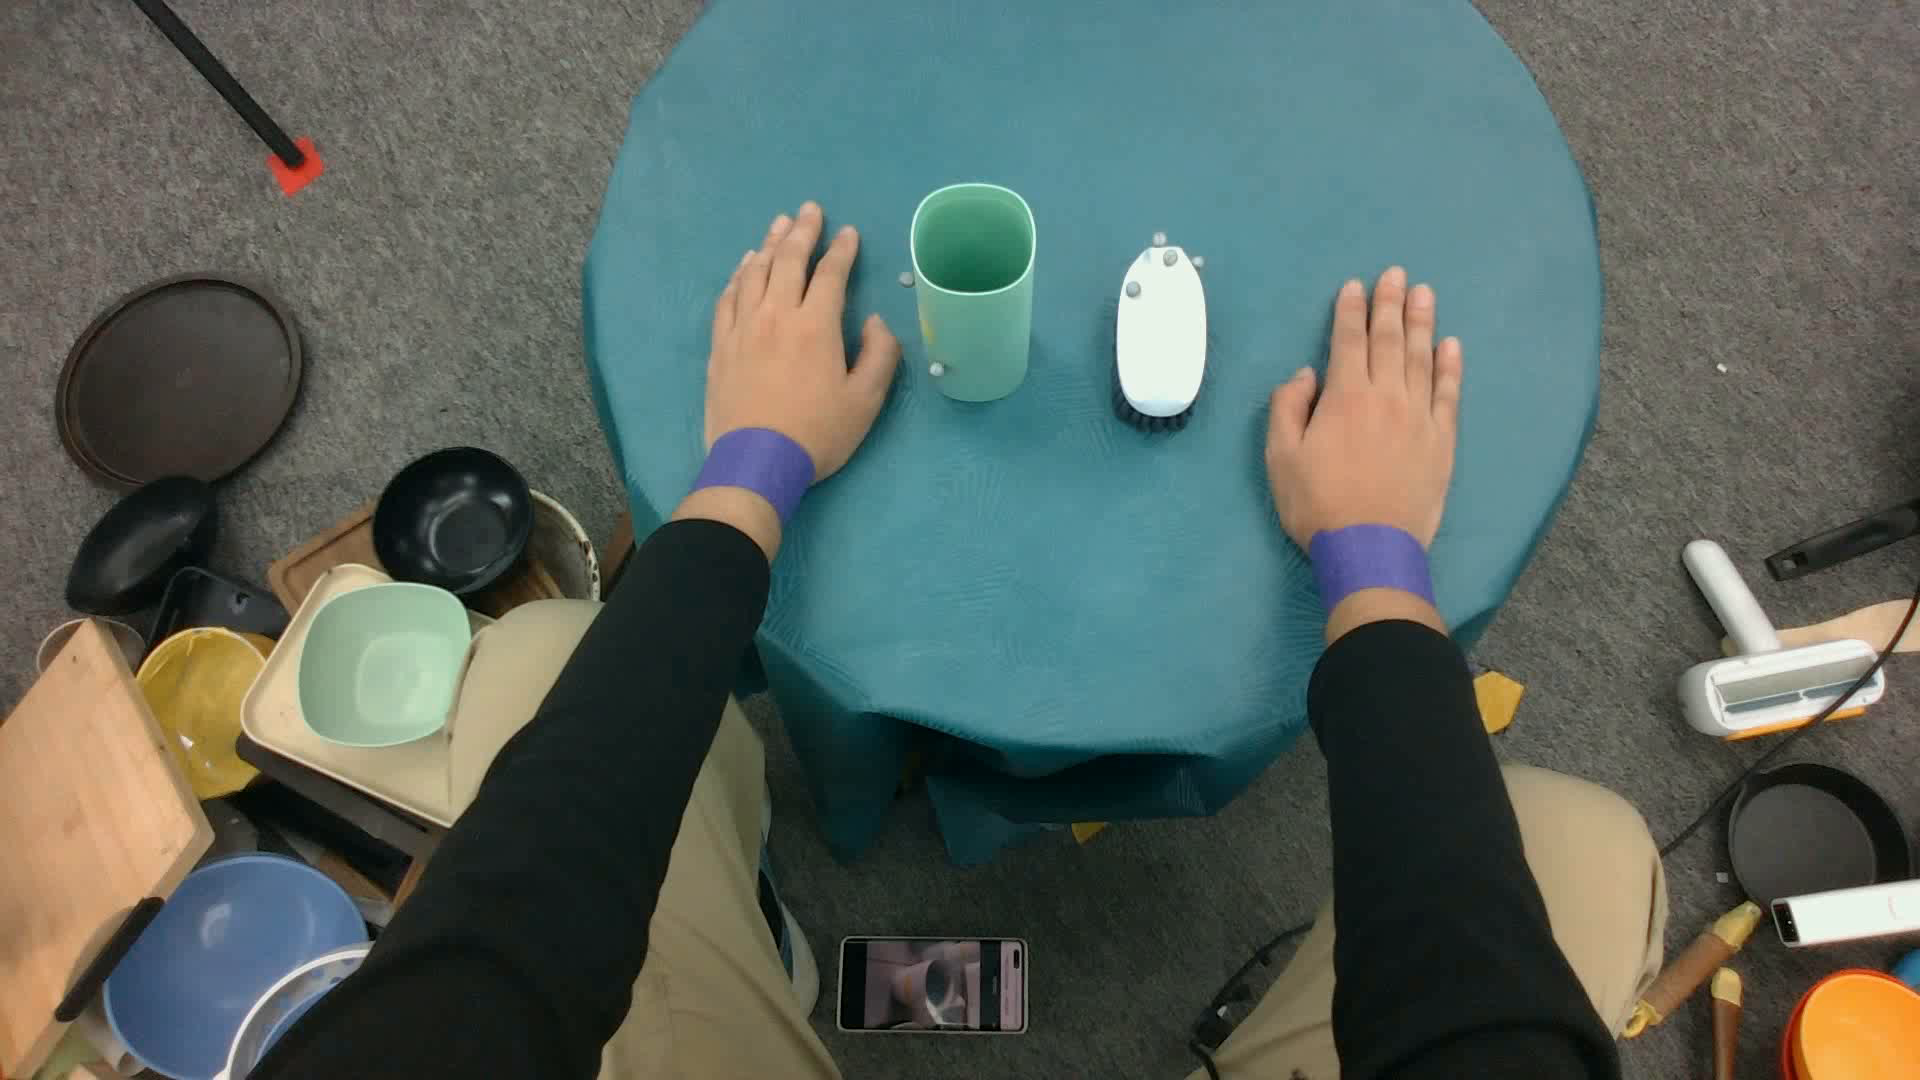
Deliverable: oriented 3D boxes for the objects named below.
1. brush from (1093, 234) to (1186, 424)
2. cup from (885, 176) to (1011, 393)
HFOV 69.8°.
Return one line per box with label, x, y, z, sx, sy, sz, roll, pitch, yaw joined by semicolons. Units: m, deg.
brush;0.102;-0.124;0.767;0.050;0.072;0.099;4;71;3
cup;-0.004;-0.134;0.745;0.067;0.132;0.067;0;71;0
